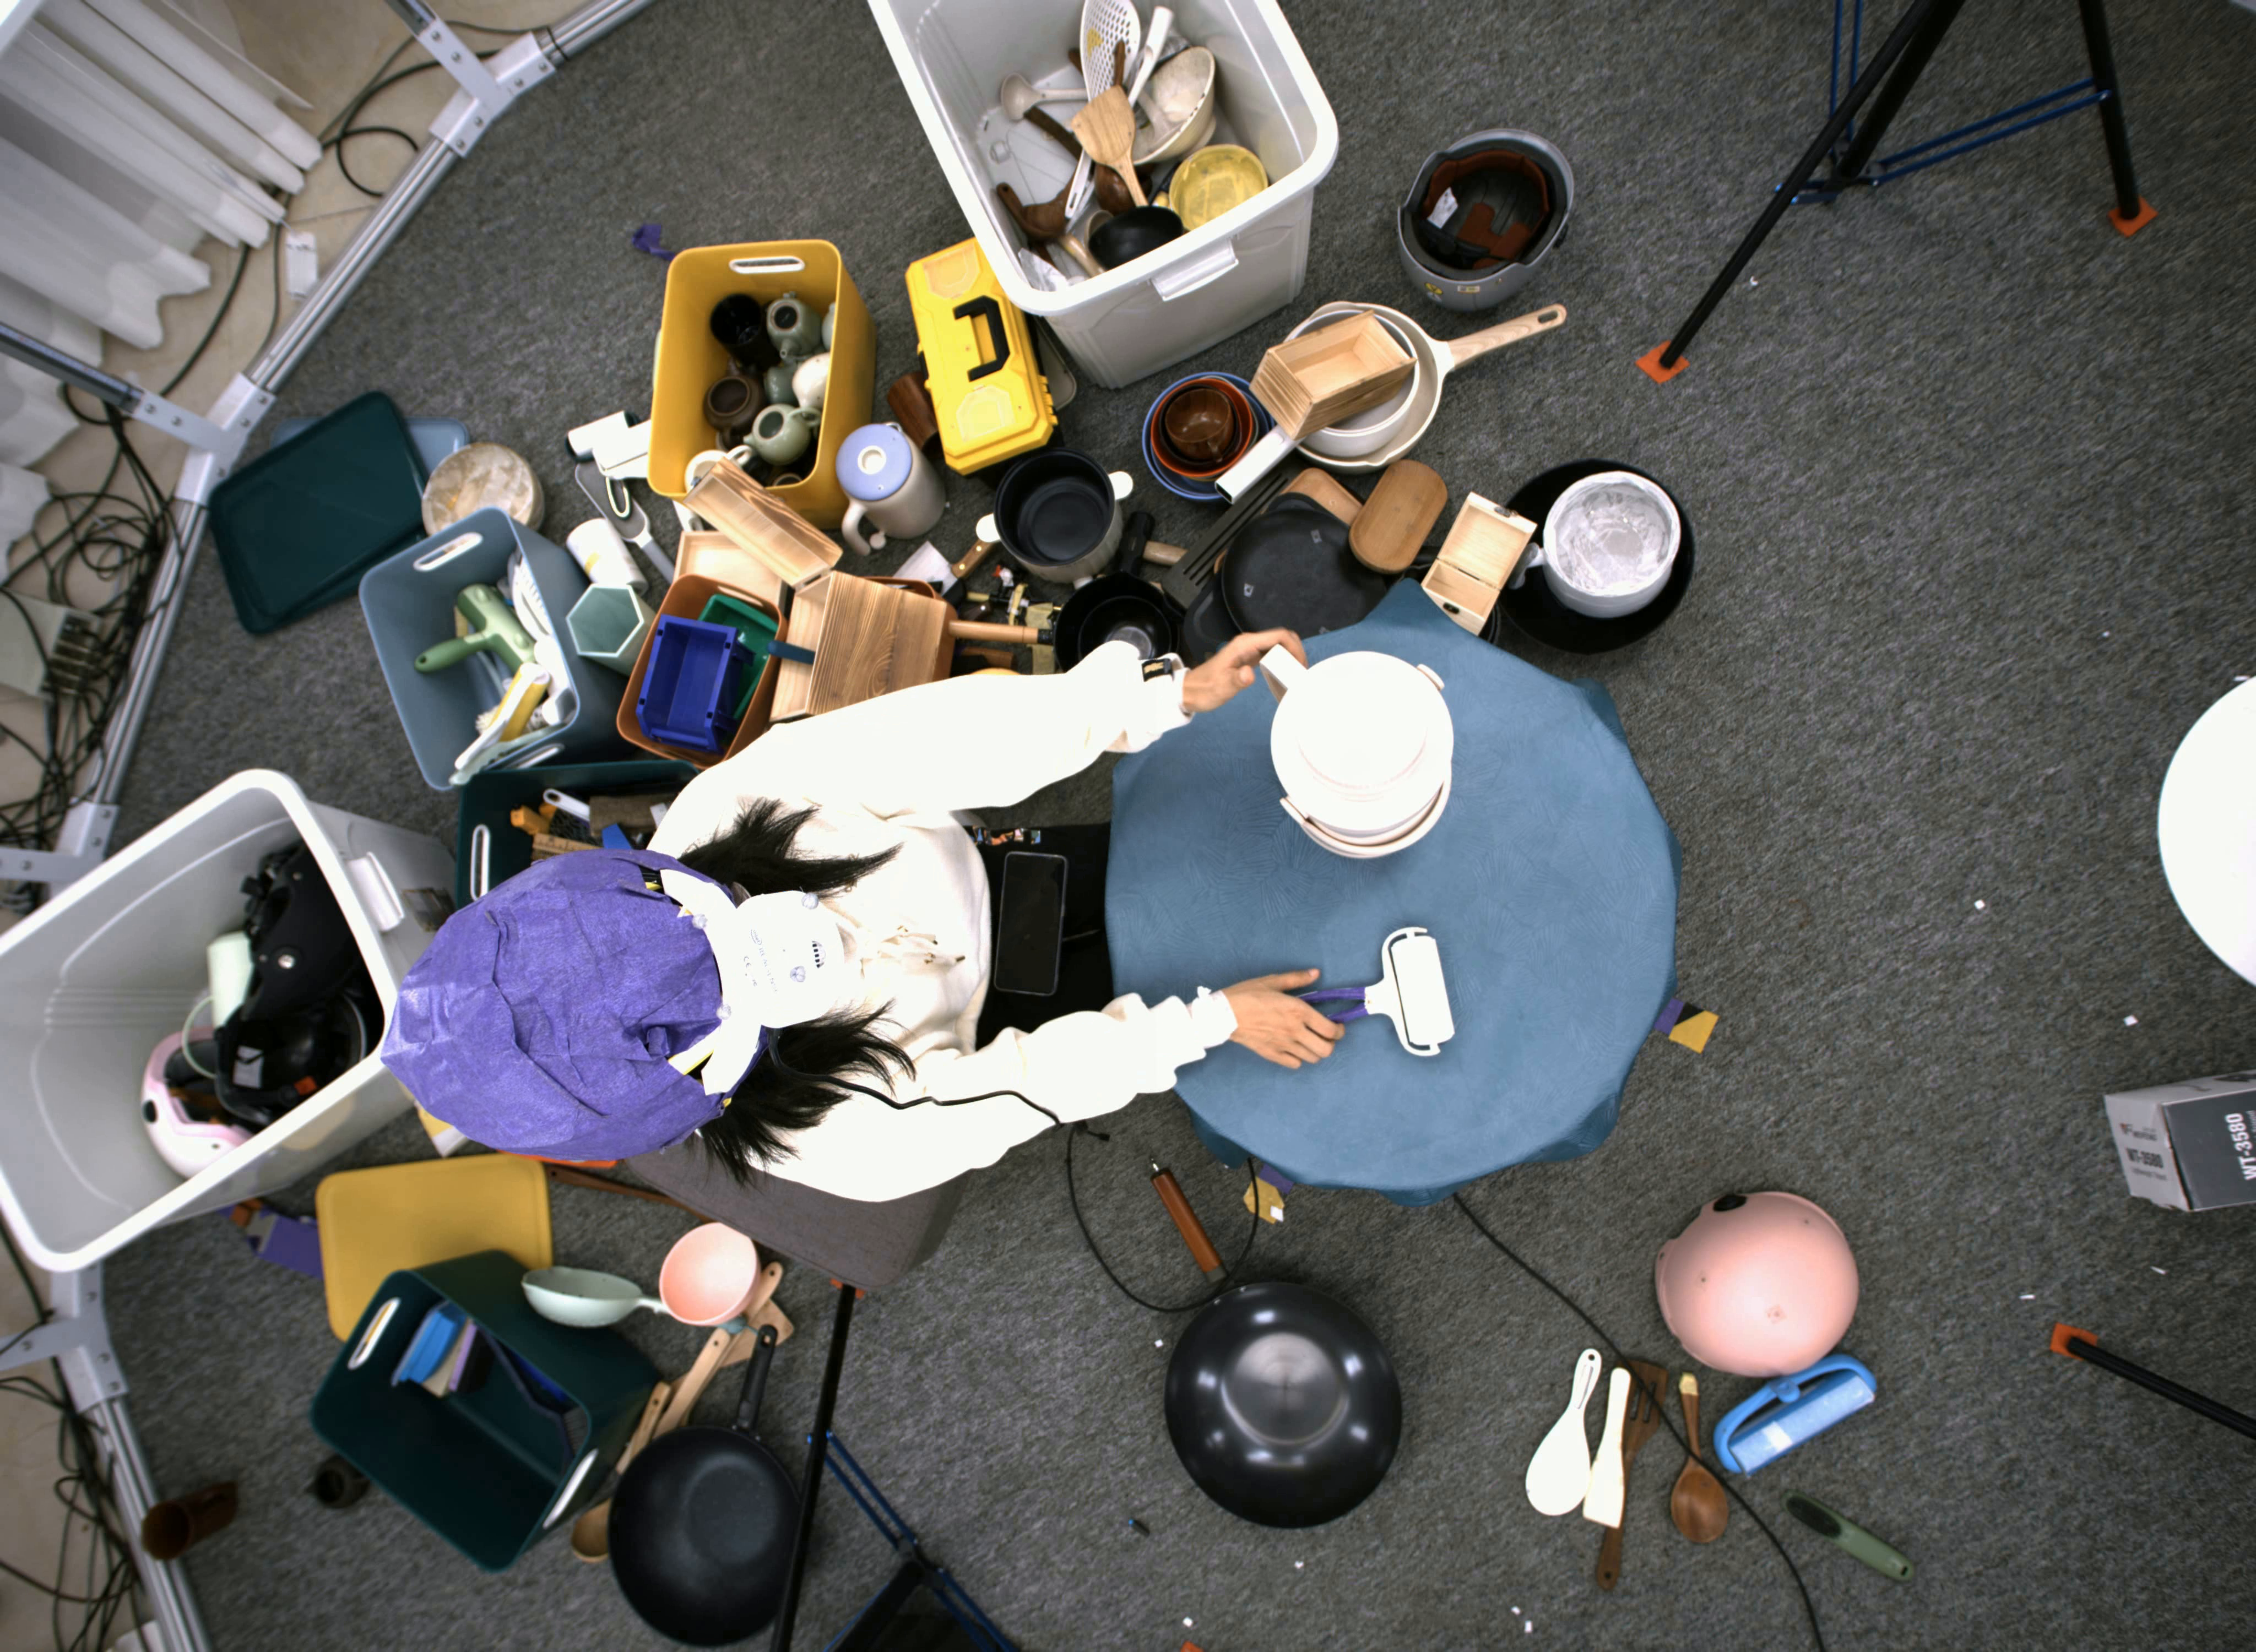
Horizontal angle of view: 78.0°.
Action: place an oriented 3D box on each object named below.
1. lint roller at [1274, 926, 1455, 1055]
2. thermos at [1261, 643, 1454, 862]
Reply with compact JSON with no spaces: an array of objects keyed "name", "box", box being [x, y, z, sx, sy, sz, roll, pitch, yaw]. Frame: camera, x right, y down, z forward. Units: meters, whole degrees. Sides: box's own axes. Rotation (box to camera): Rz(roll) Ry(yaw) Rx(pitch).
[{"name":"lint roller","box":[0.240,0.178,1.436,0.181,0.050,0.132,-10,86,7]},{"name":"thermos","box":[0.208,-0.075,1.279,0.176,0.407,0.206,-45,79,4]}]
